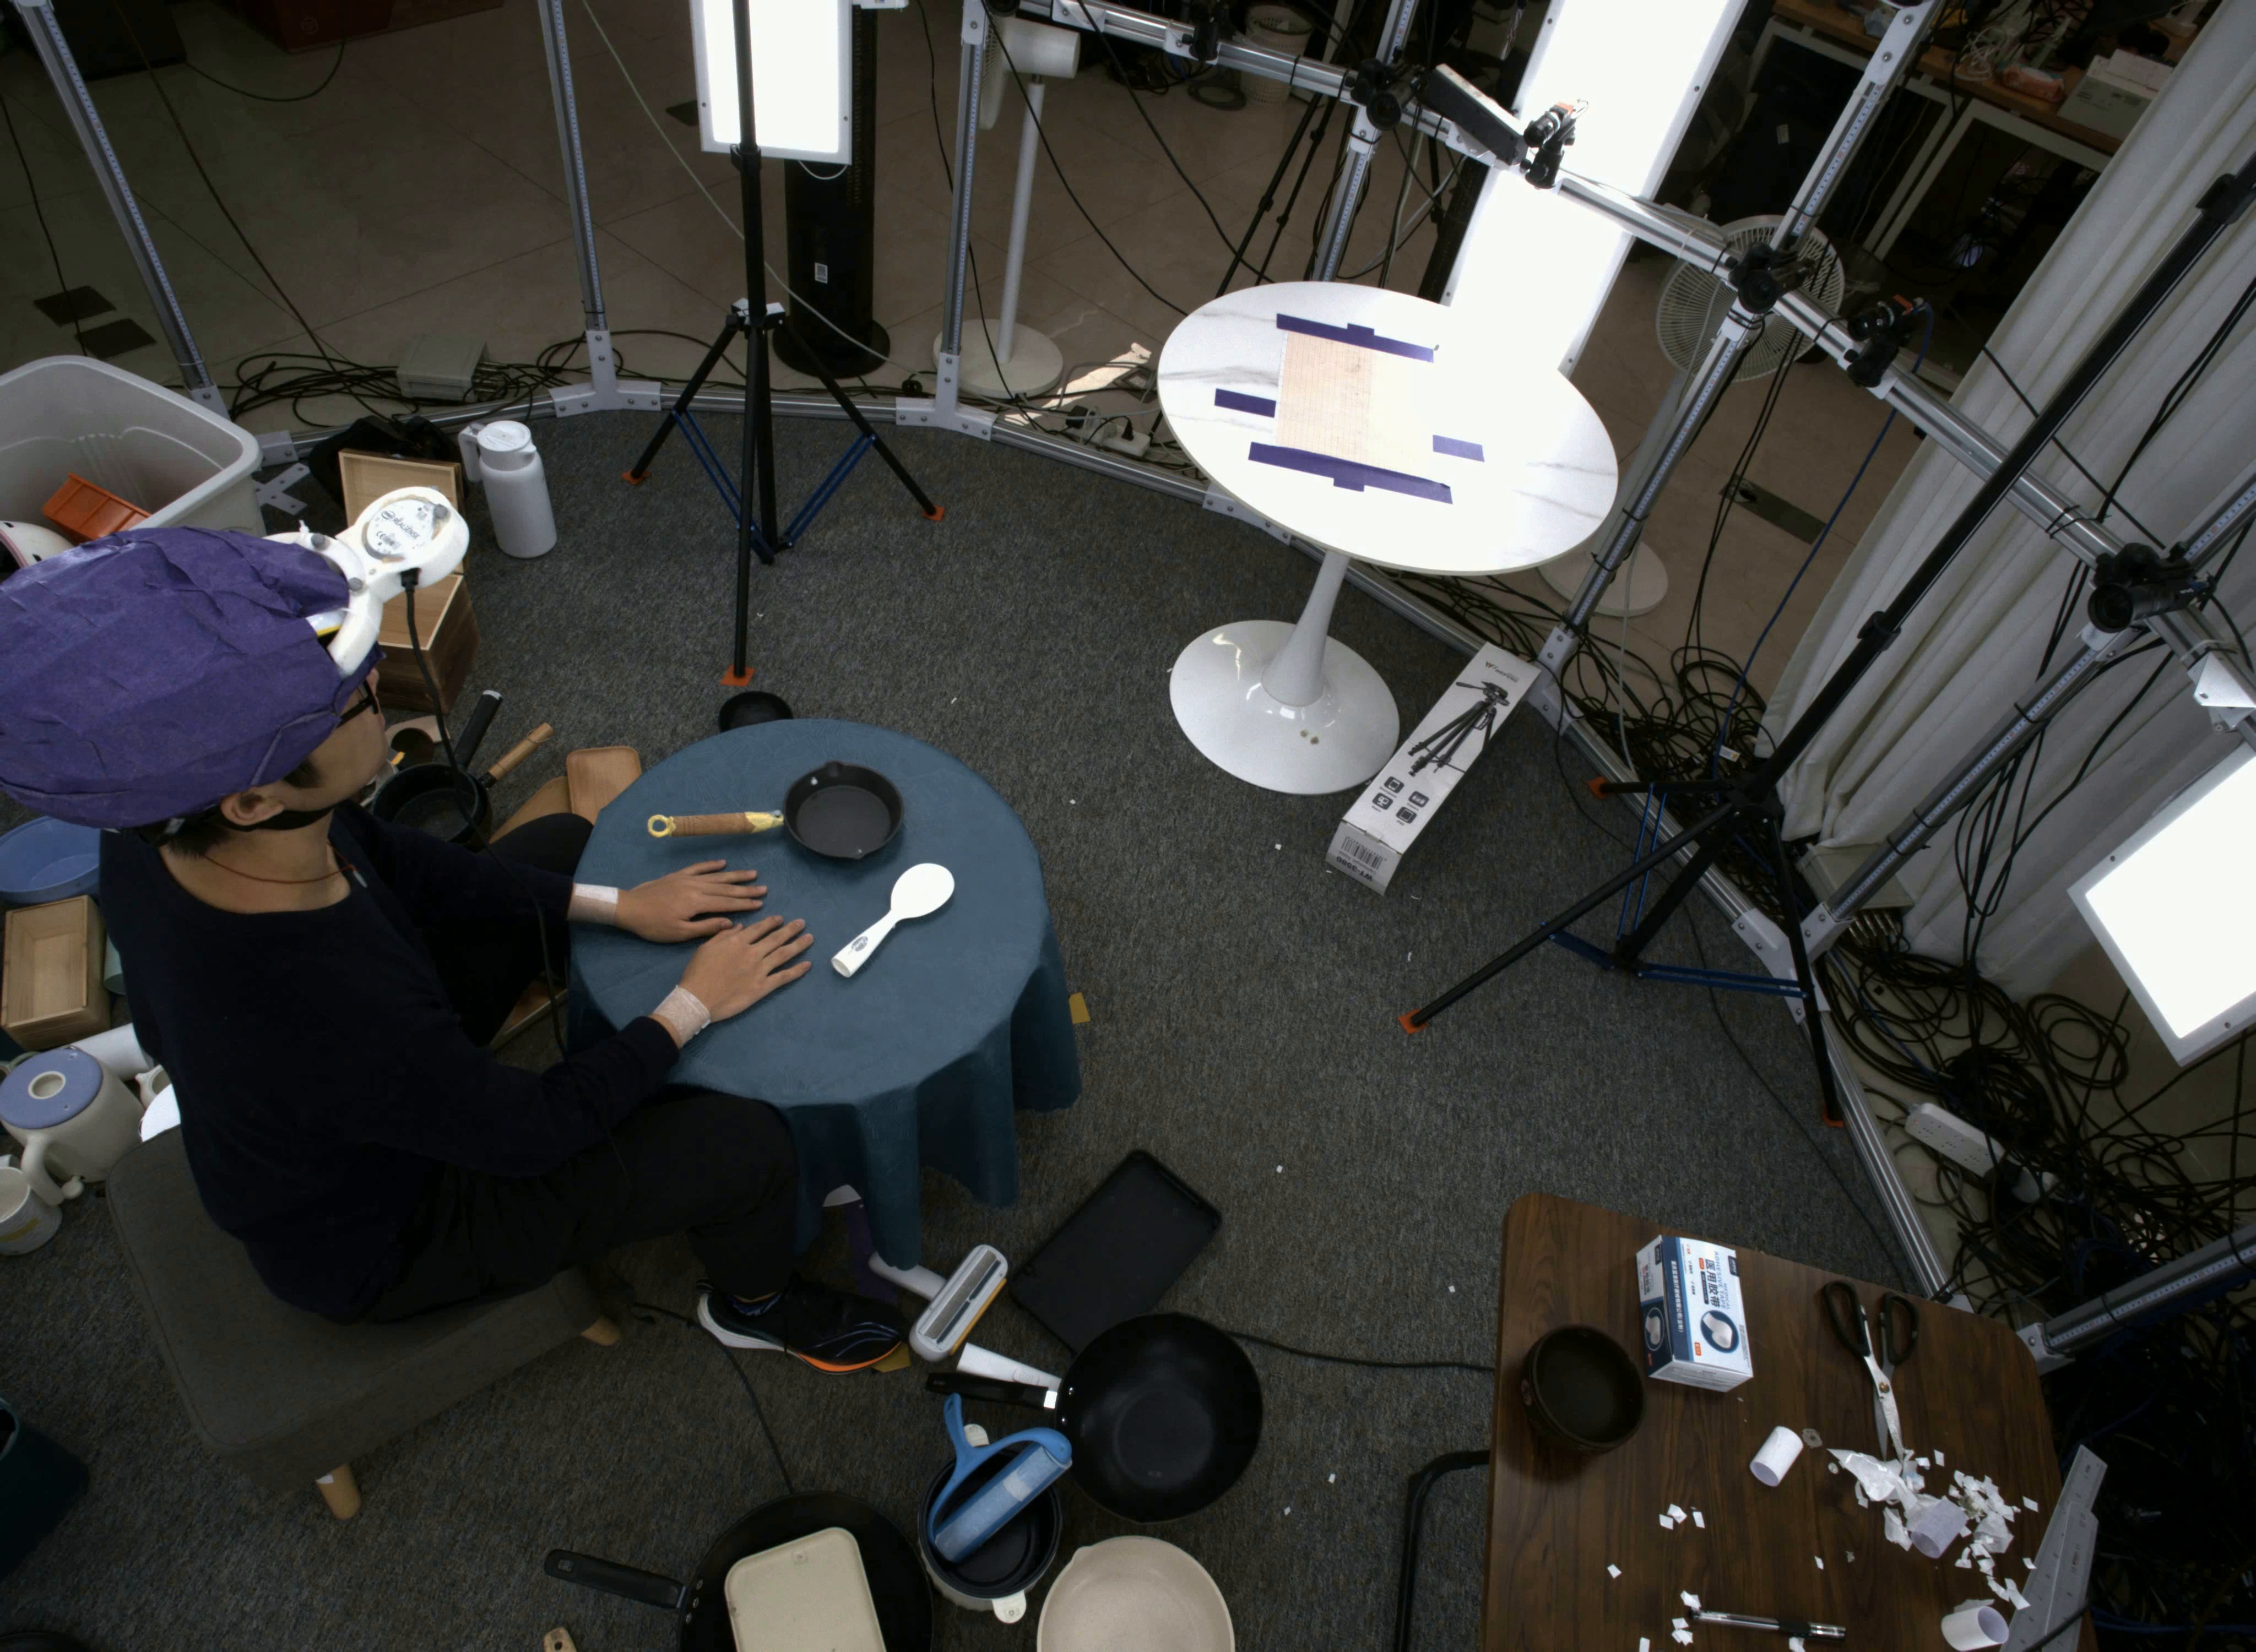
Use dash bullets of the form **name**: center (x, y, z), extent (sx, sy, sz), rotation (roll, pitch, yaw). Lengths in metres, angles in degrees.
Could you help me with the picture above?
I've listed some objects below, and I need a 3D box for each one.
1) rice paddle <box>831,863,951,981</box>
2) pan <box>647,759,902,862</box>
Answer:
- **rice paddle**: center (-0.298, 0.113, 1.644), extent (0.068, 0.030, 0.205), rotation (34, 53, 10)
- **pan**: center (-0.456, -0.010, 1.680), extent (0.326, 0.050, 0.165), rotation (-6, 56, -21)
